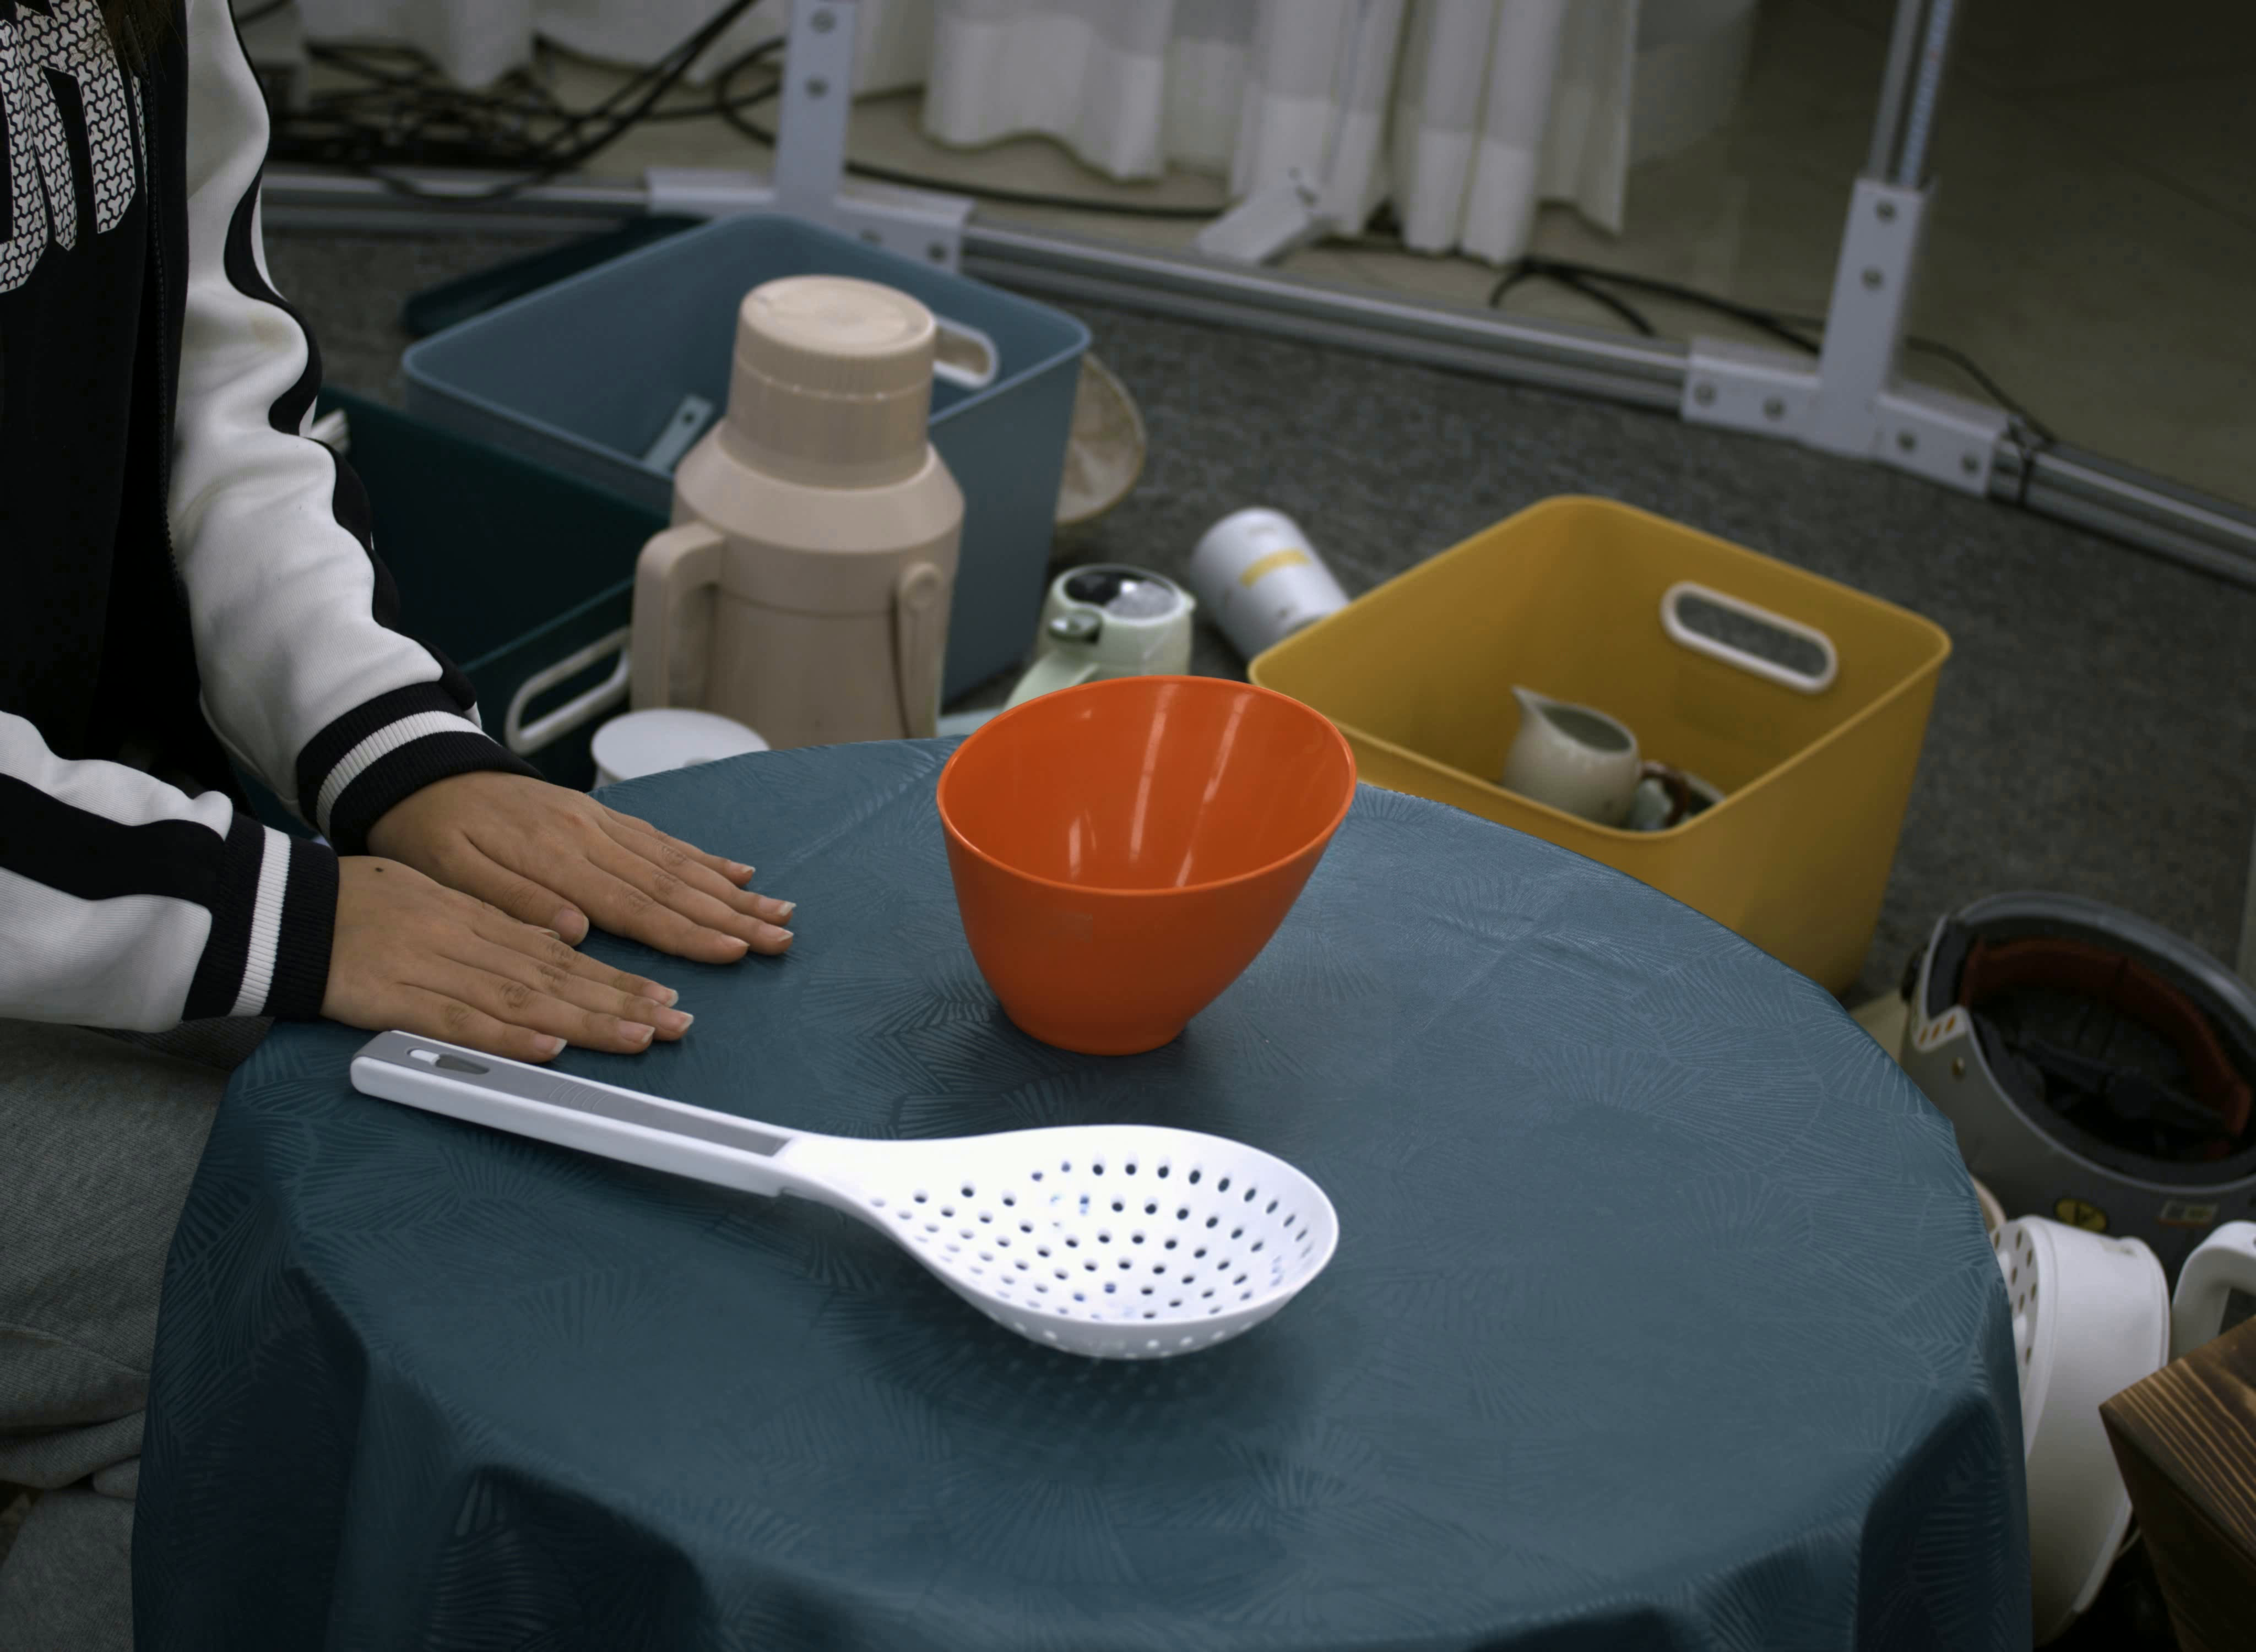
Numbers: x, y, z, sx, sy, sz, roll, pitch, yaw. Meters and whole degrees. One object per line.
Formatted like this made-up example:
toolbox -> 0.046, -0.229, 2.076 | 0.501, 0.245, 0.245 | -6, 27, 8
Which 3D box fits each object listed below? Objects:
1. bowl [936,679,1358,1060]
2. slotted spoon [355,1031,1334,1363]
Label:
bowl -> 0.003, 0.021, 1.894 | 0.147, 0.104, 0.149 | 5, 29, -3
slotted spoon -> -0.100, 0.114, 1.750 | 0.351, 0.045, 0.136 | 16, 27, 20
